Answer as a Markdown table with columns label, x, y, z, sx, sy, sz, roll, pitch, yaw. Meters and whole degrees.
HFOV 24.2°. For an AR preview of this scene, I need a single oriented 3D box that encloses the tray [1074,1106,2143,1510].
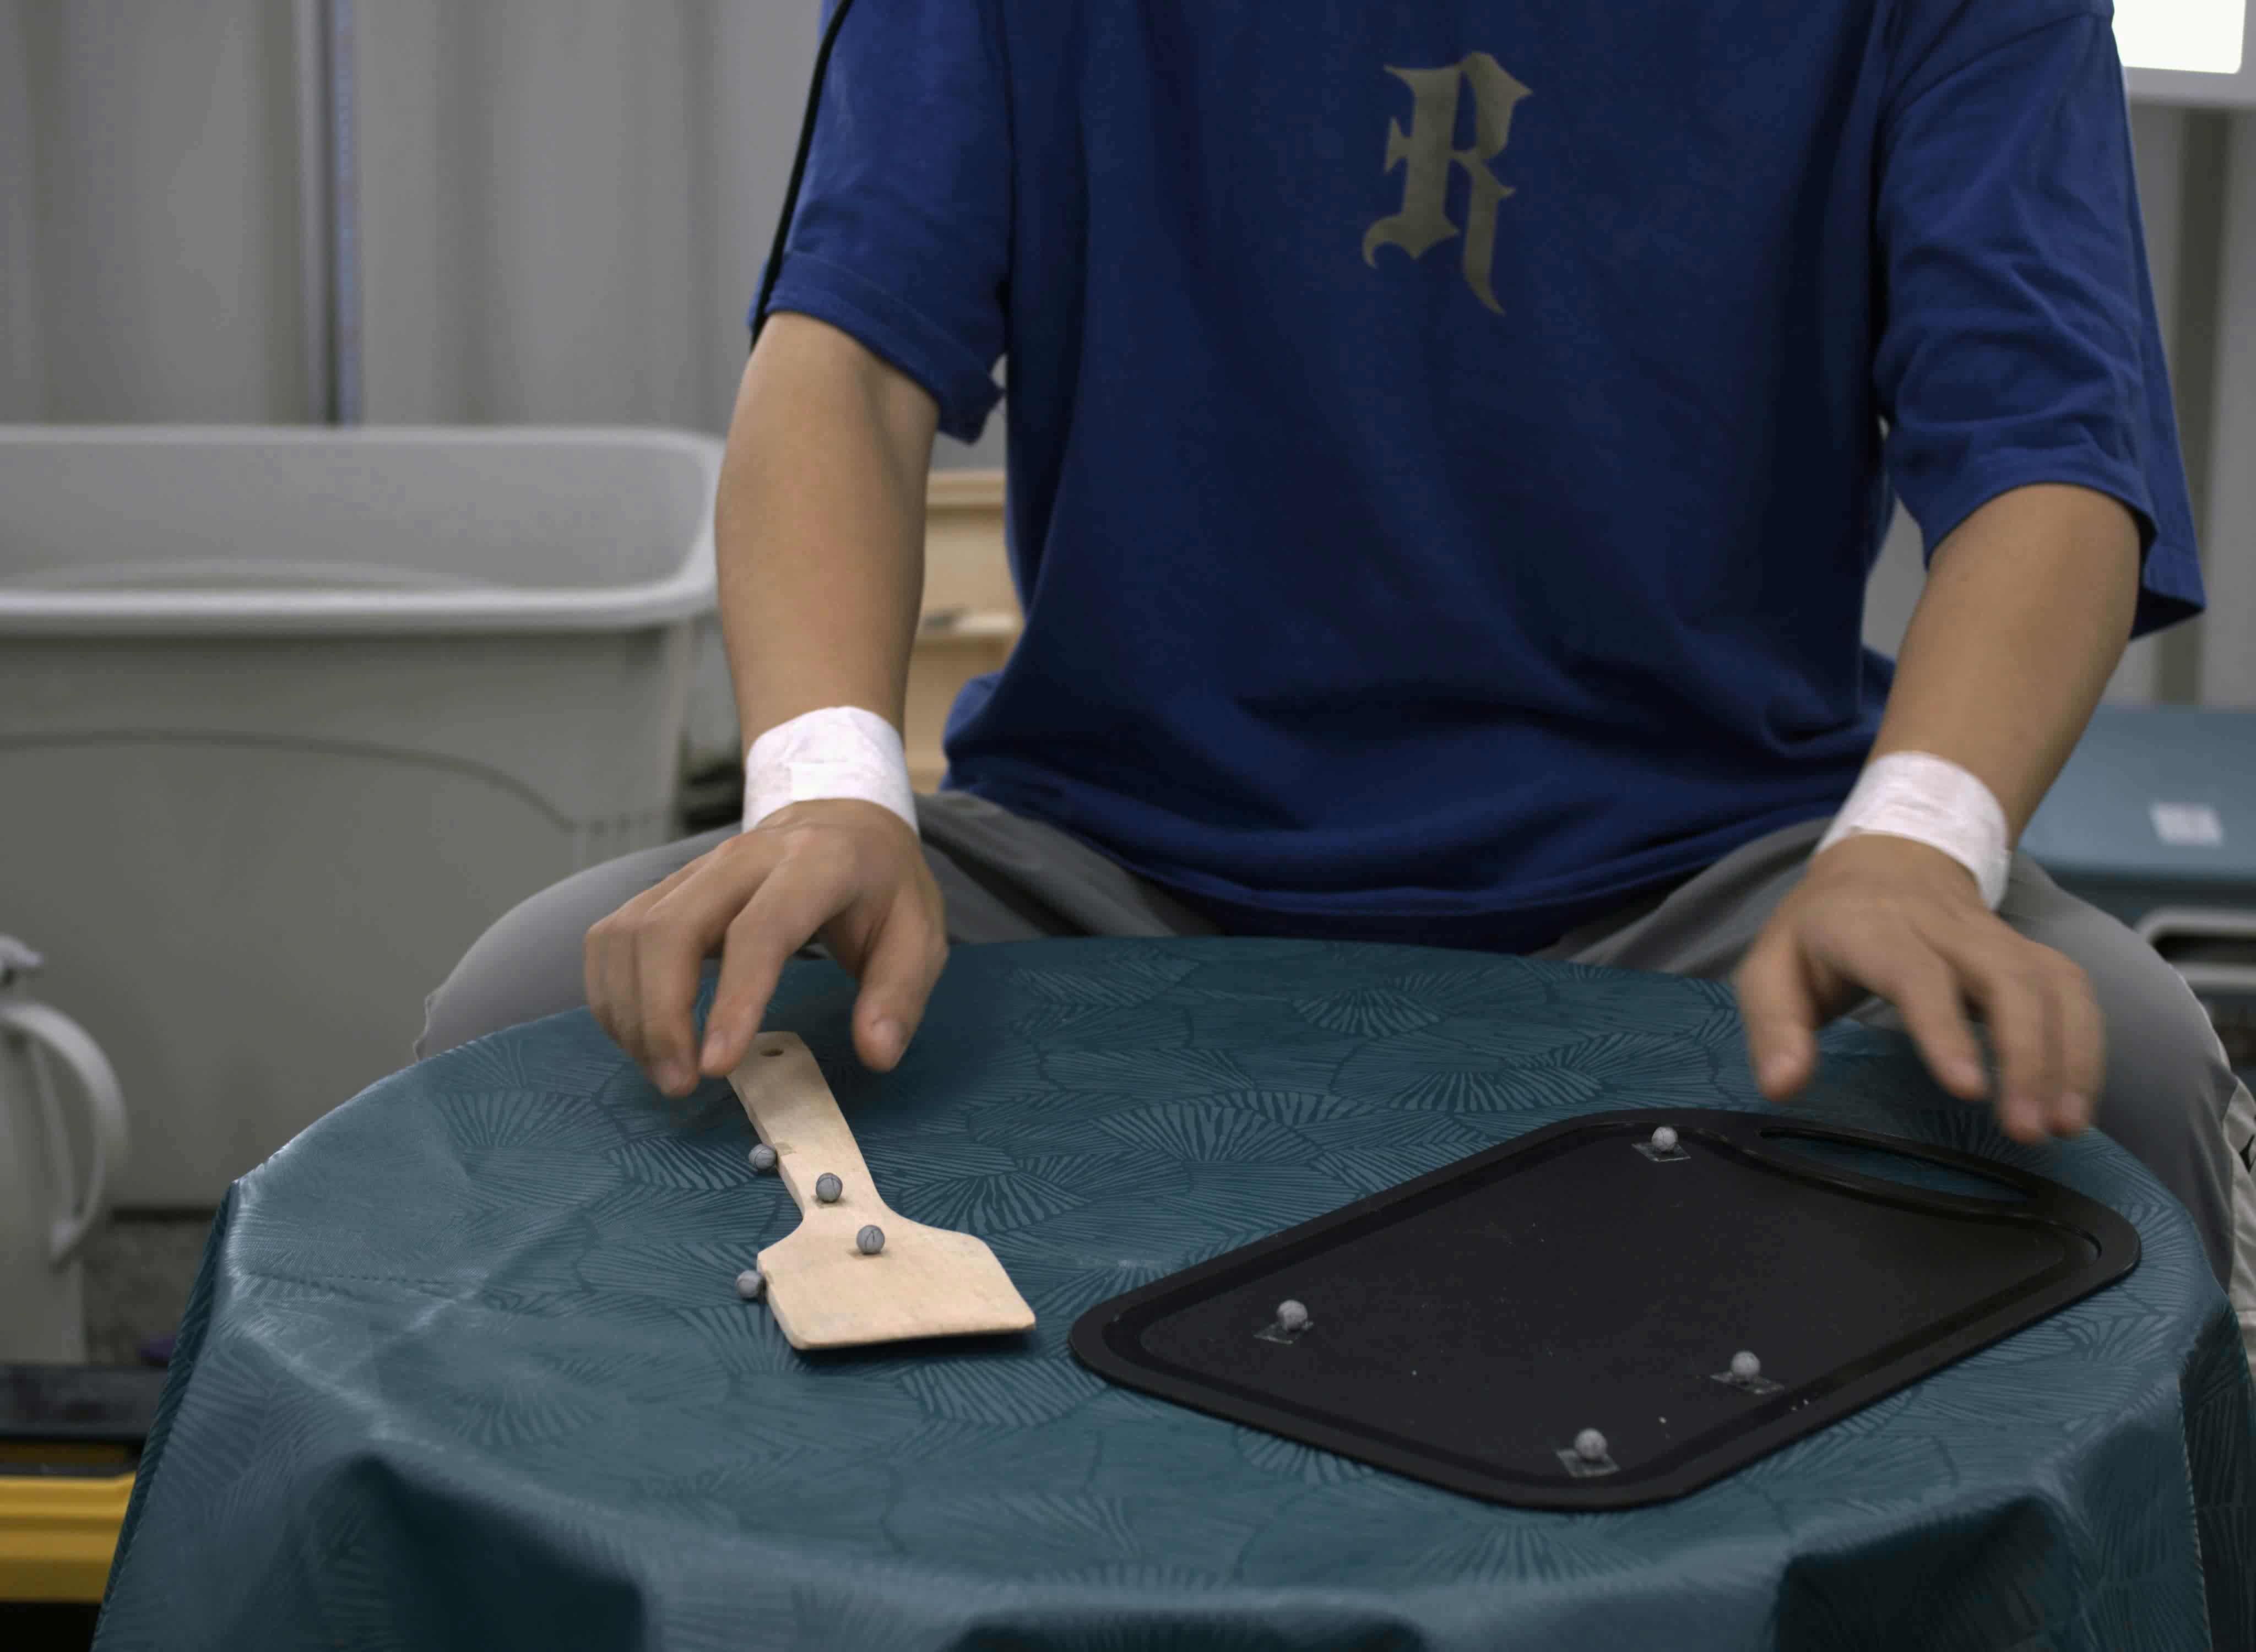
| label | x | y | z | sx | sy | sz | roll | pitch | yaw |
| --- | --- | --- | --- | --- | --- | --- | --- | --- | --- |
| tray | 0.149 | 0.132 | 1.545 | 0.208 | 0.010 | 0.327 | 14 | 20 | 39 |

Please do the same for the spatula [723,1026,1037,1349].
| label | x | y | z | sx | sy | sz | roll | pitch | yaw |
| --- | --- | --- | --- | --- | --- | --- | --- | --- | --- |
| spatula | -0.092 | 0.108 | 1.617 | 0.072 | 0.011 | 0.290 | -4 | 16 | -13 |
